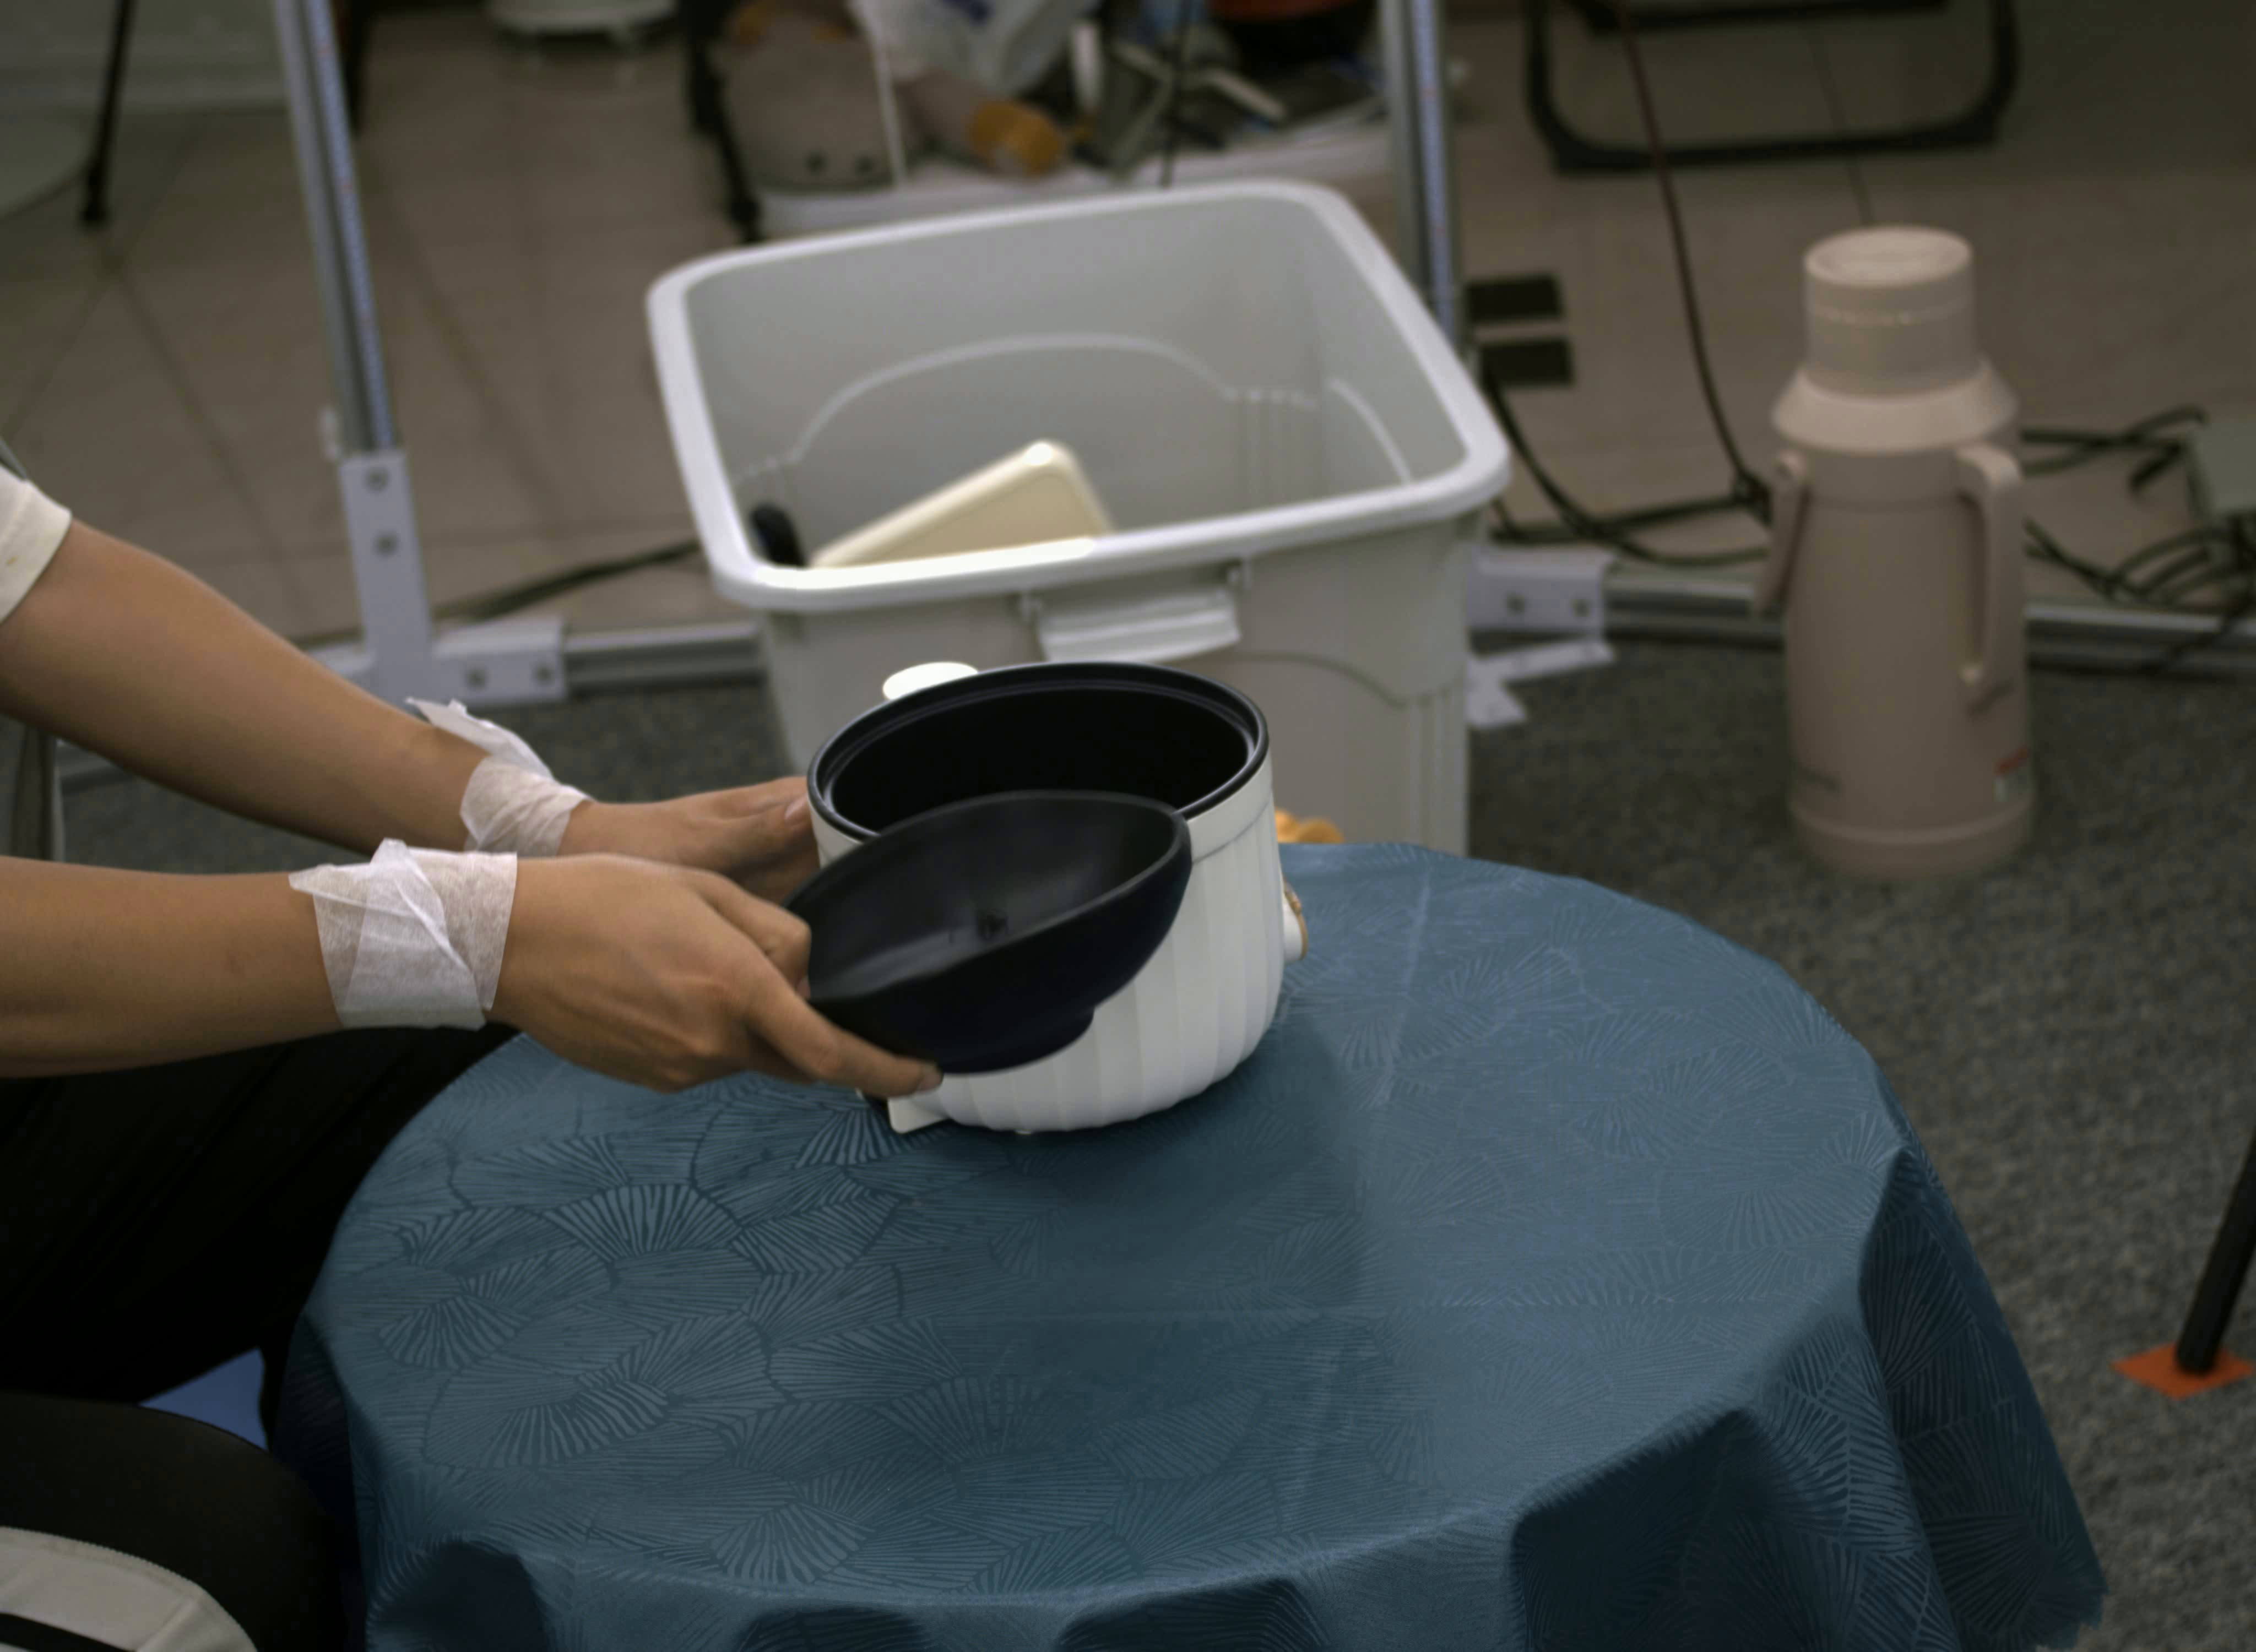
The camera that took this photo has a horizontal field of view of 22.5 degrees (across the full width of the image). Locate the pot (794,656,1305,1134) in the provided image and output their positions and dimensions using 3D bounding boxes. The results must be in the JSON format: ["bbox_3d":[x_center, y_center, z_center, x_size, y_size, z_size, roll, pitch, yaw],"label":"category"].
[{"bbox_3d":[-0.025,0.029,2.227,0.189,0.145,0.237,-21,29,-20],"label":"pot"}]

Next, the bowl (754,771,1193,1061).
[{"bbox_3d":[-0.050,0.040,2.026,0.169,0.067,0.136,-26,26,-27],"label":"bowl"}]
